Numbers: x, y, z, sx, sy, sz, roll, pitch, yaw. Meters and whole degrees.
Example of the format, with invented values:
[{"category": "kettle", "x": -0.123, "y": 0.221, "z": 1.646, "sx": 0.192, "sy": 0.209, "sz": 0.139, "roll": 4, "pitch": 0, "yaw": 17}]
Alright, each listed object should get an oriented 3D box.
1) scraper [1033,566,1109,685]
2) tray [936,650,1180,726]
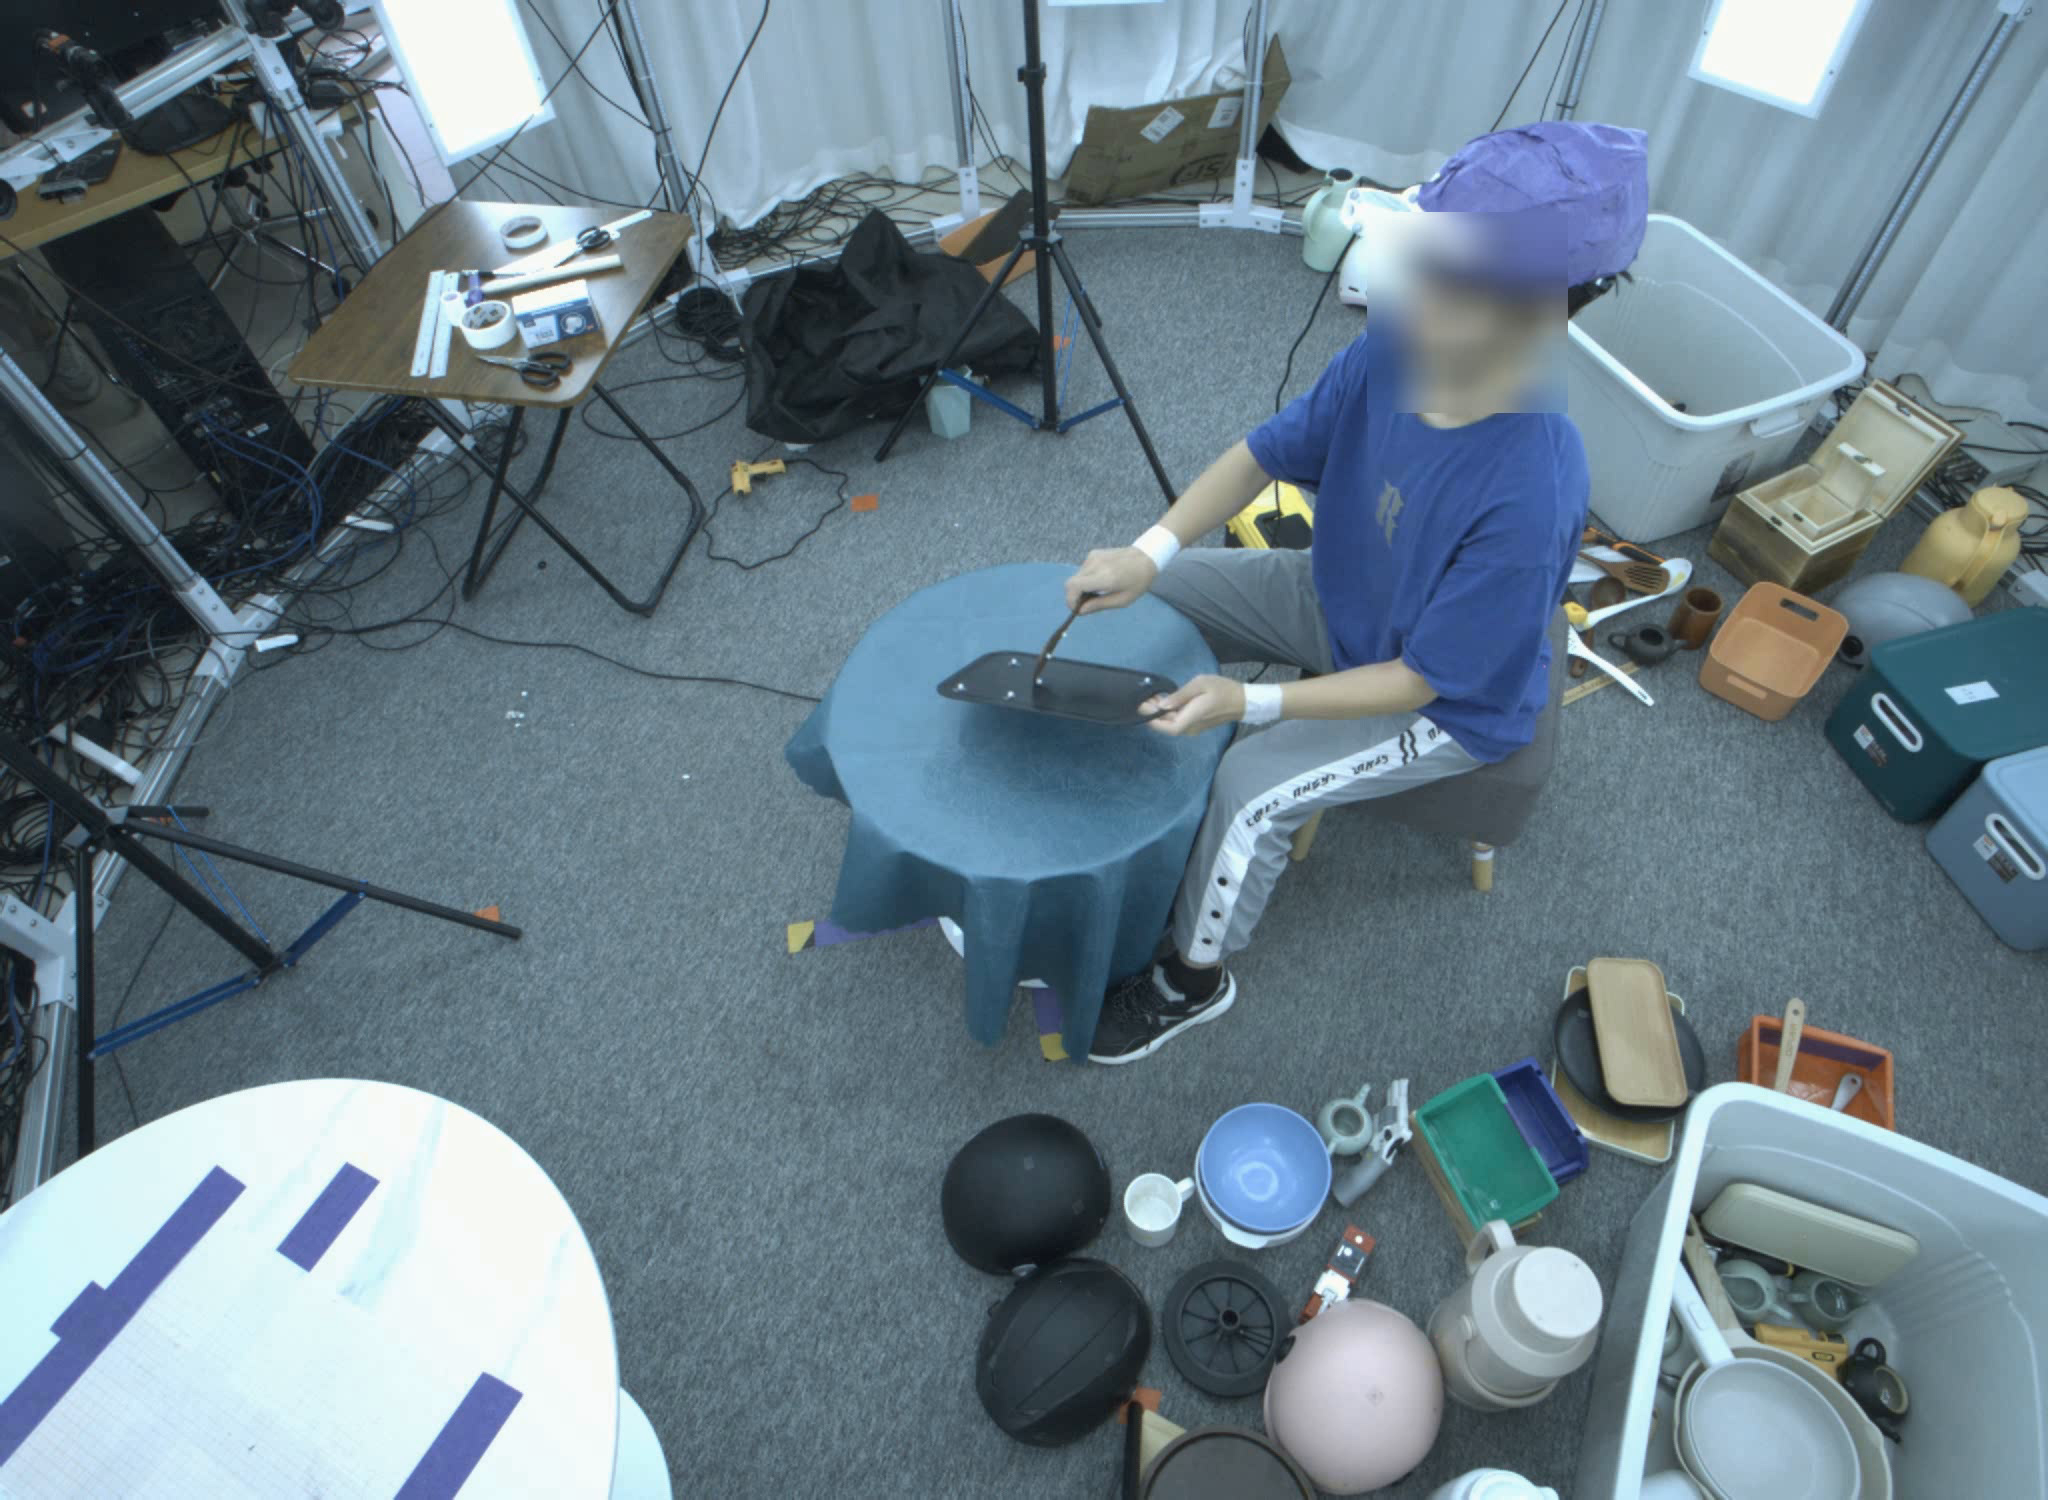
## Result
[{"category": "scraper", "x": 0.066, "y": -0.182, "z": 1.724, "sx": 0.011, "sy": 0.076, "sz": 0.212, "roll": 30, "pitch": 64, "yaw": 9}, {"category": "tray", "x": 0.055, "y": -0.090, "z": 1.714, "sx": 0.320, "sy": 0.010, "sz": 0.213, "roll": 12, "pitch": 26, "yaw": 22}]
